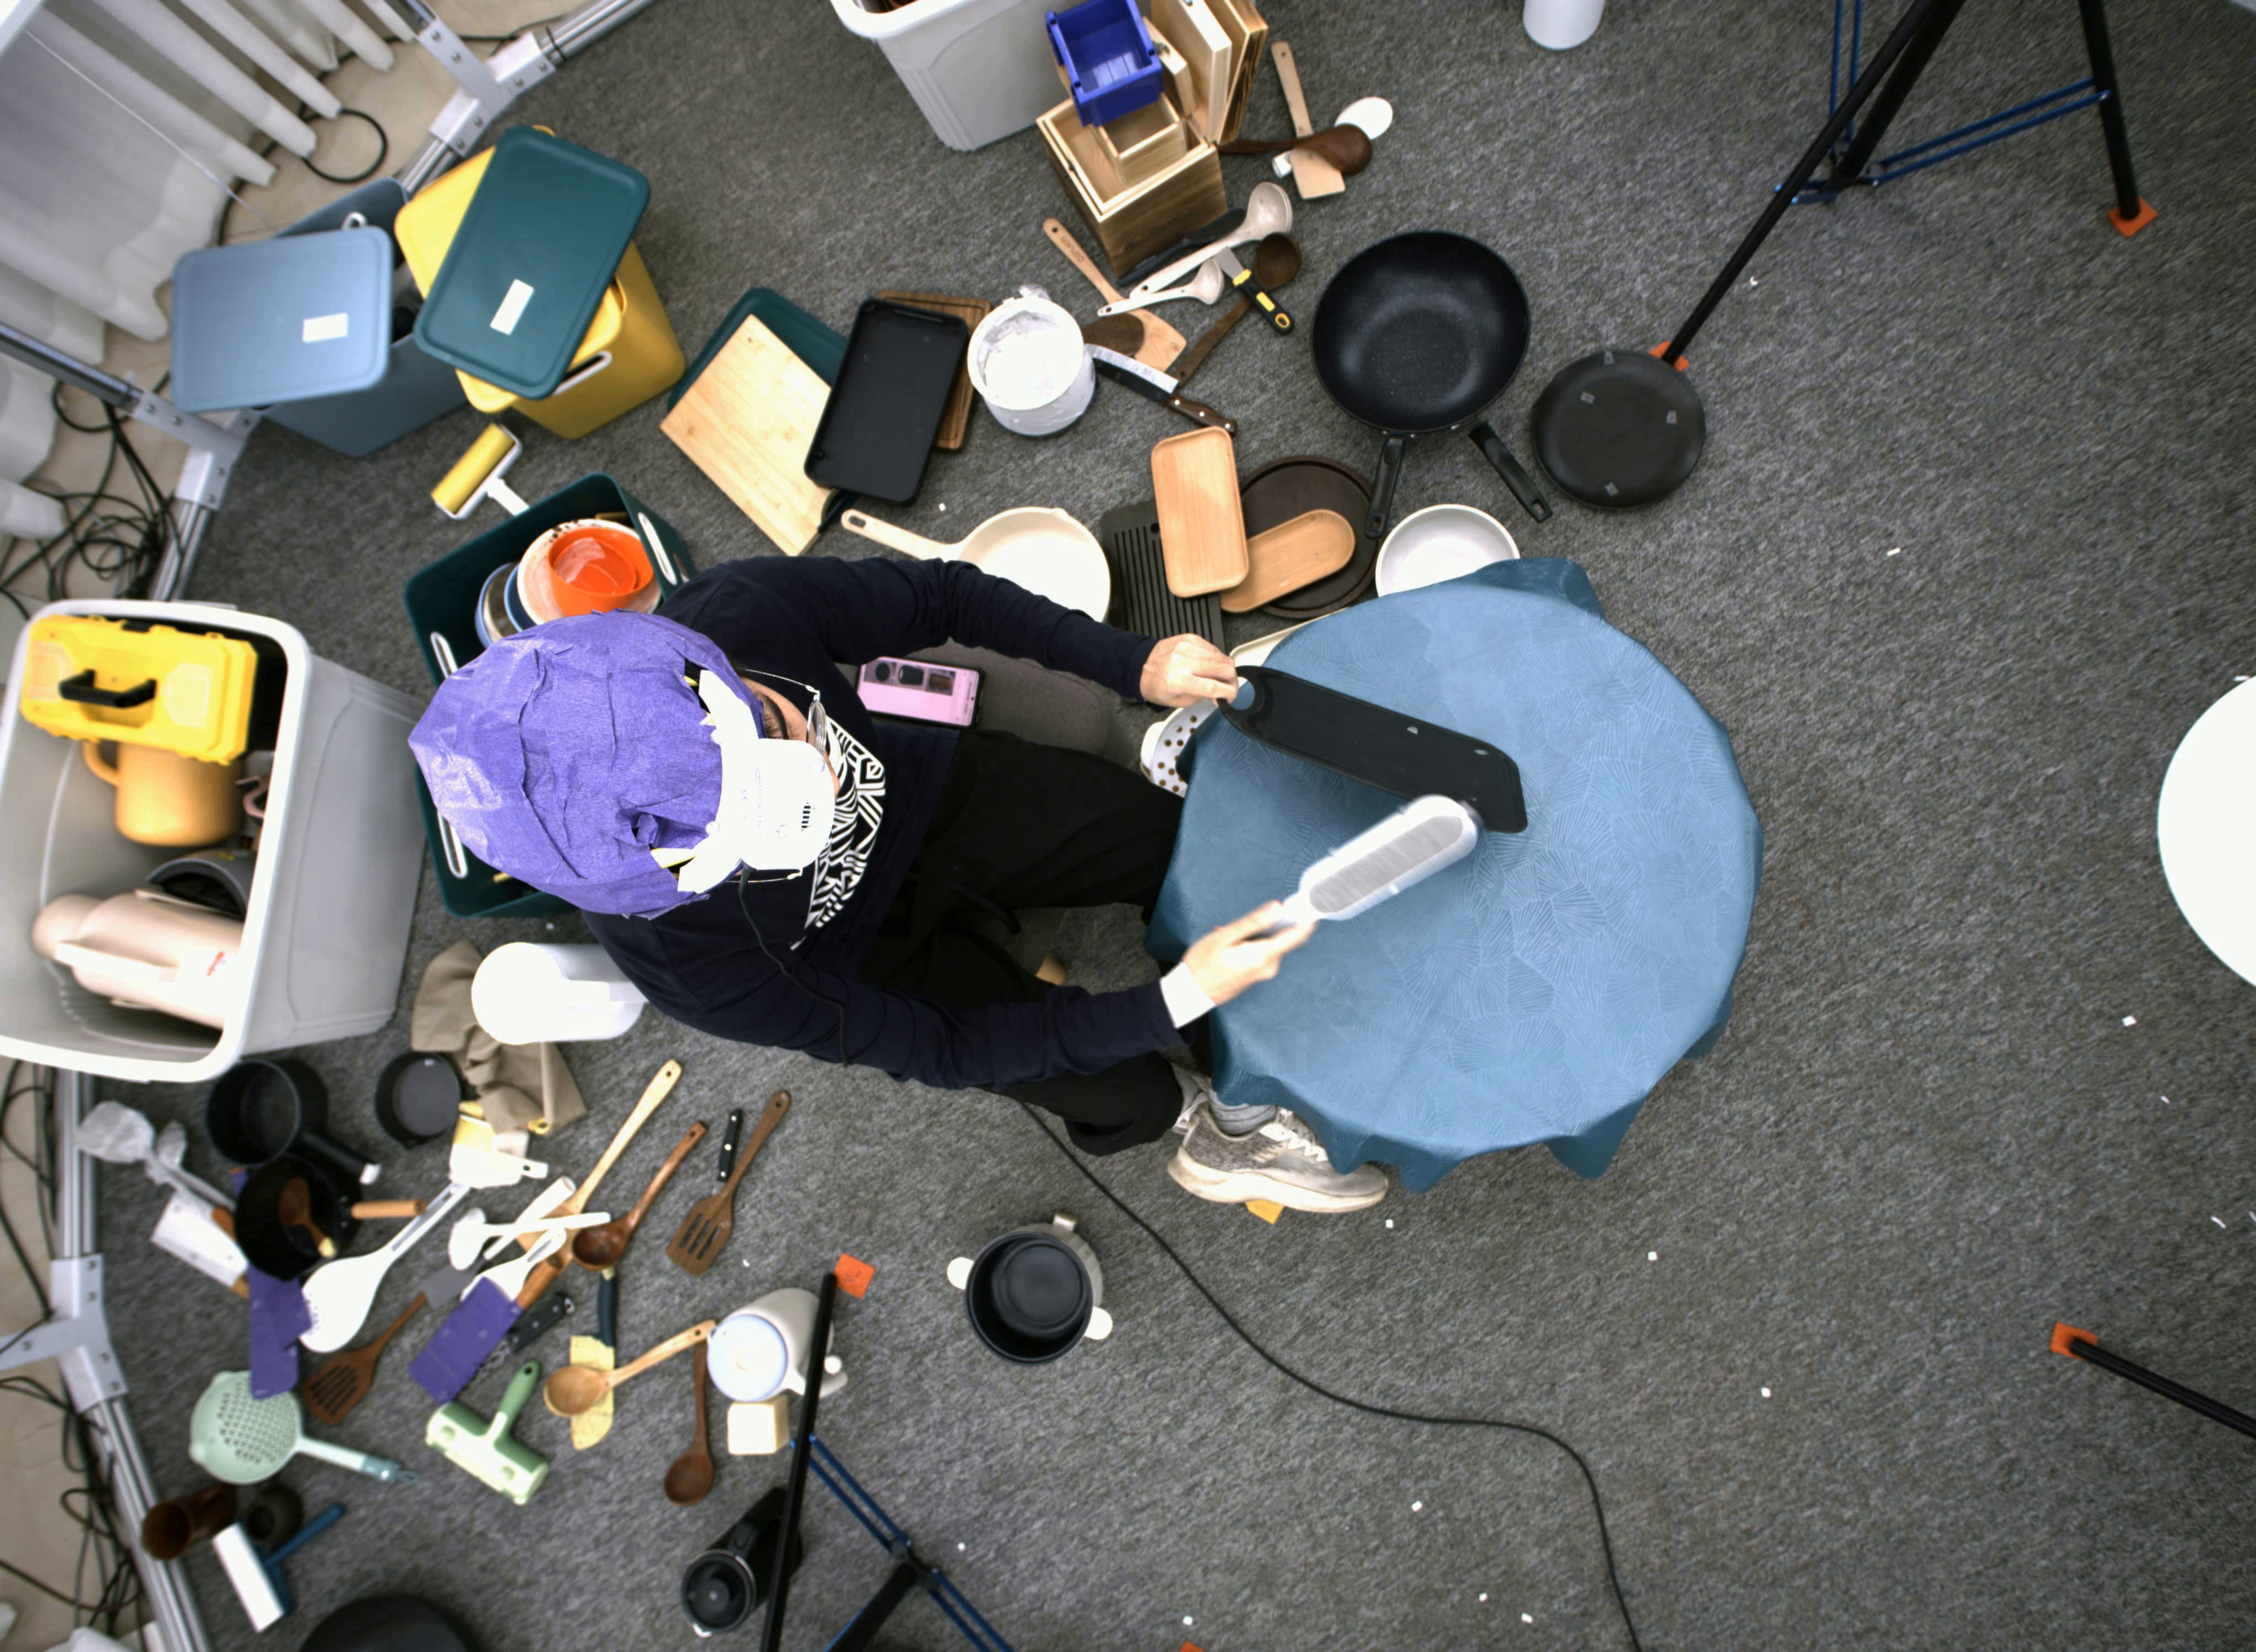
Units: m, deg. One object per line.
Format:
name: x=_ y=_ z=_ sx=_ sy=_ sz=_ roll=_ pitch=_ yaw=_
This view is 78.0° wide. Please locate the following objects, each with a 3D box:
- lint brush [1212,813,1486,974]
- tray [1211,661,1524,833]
lint brush: x=0.198 y=0.068 z=1.294 sx=0.315 sy=0.020 sz=0.060 roll=-32 pitch=118 yaw=33
tray: x=0.237 y=-0.087 z=1.360 sx=0.326 sy=0.206 sz=0.010 roll=20 pitch=120 yaw=1
